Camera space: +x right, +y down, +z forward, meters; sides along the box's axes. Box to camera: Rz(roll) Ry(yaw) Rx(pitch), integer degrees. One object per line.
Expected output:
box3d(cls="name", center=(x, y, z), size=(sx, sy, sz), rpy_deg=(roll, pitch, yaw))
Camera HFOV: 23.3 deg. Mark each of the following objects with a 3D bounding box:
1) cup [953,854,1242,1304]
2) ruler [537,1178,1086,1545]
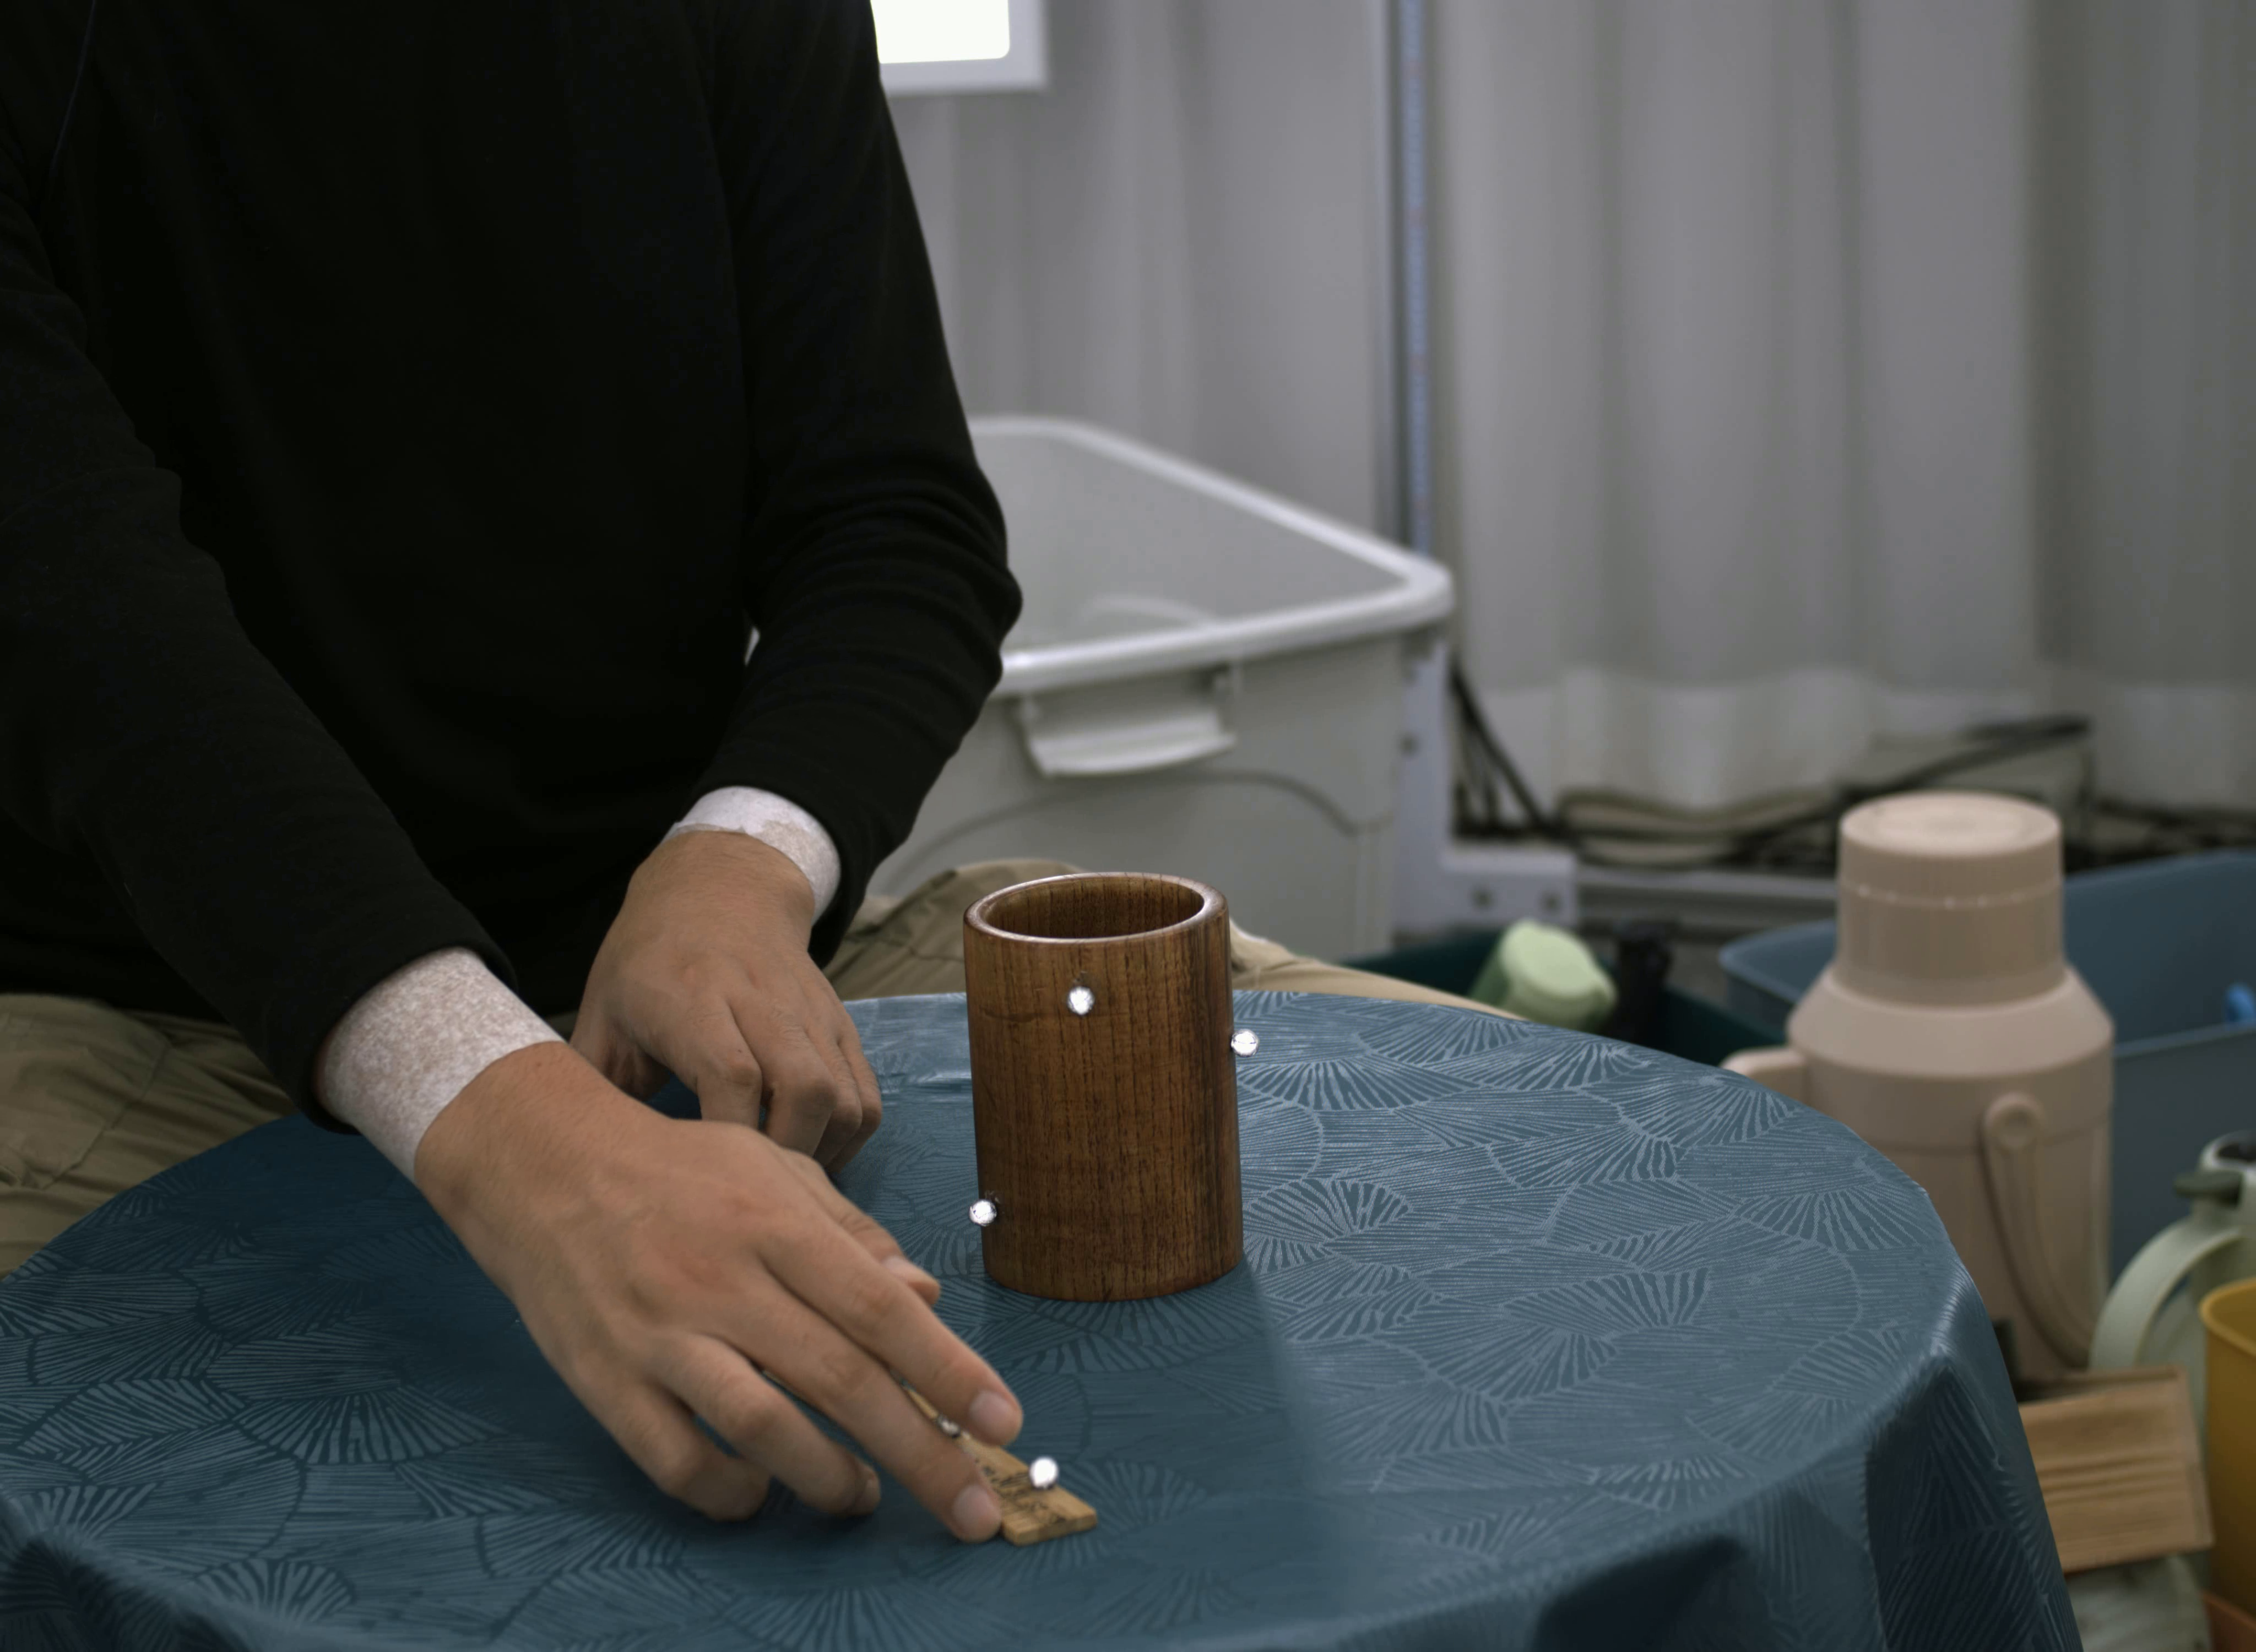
box3d(cls="cup", center=(-0.007, 0.075, 1.639), size=(0.087, 0.118, 0.088), rpy_deg=(-2, 13, 0))
box3d(cls="ruler", center=(-0.099, 0.149, 1.585), size=(0.027, 0.022, 0.334), rpy_deg=(-2, 13, -28))
